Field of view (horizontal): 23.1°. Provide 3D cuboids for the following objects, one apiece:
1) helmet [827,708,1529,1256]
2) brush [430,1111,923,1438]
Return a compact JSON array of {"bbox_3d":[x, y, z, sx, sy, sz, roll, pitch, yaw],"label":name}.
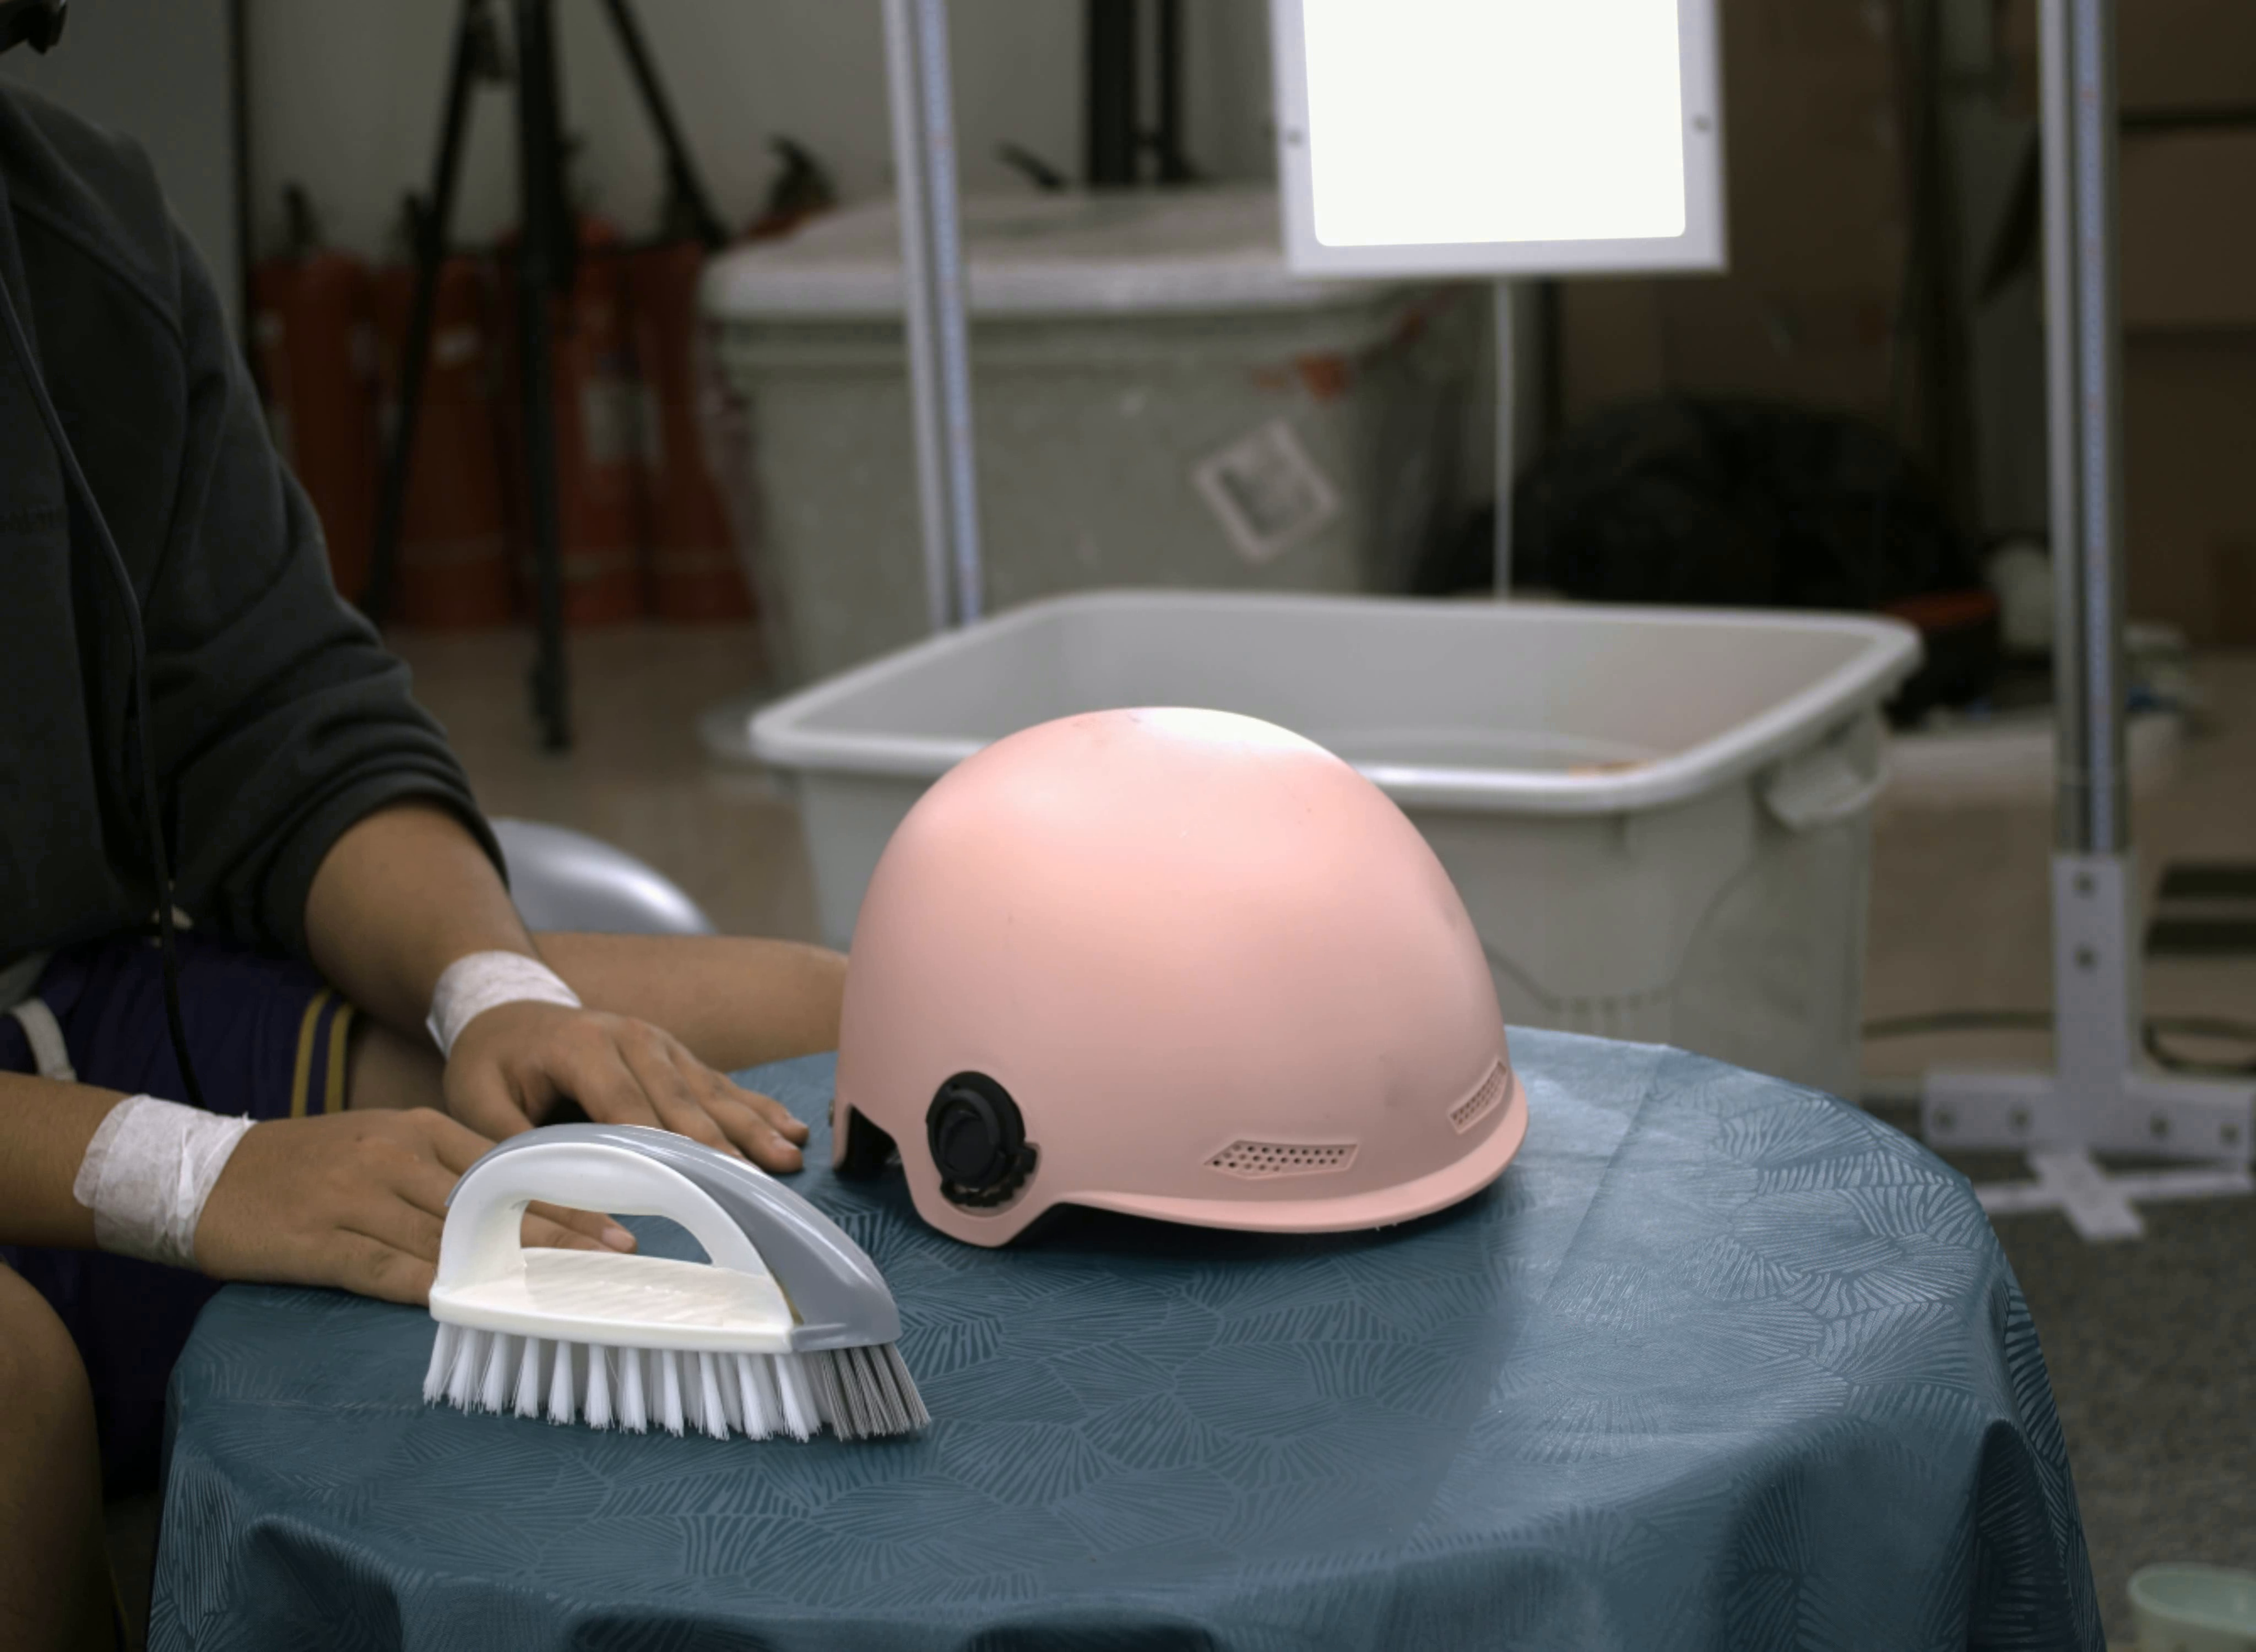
[{"bbox_3d":[0.016,0.044,1.909,0.228,0.159,0.271,-14,20,-35],"label":"helmet"},{"bbox_3d":[-0.140,0.137,1.715,0.179,0.094,0.060,6,19,33],"label":"brush"}]
